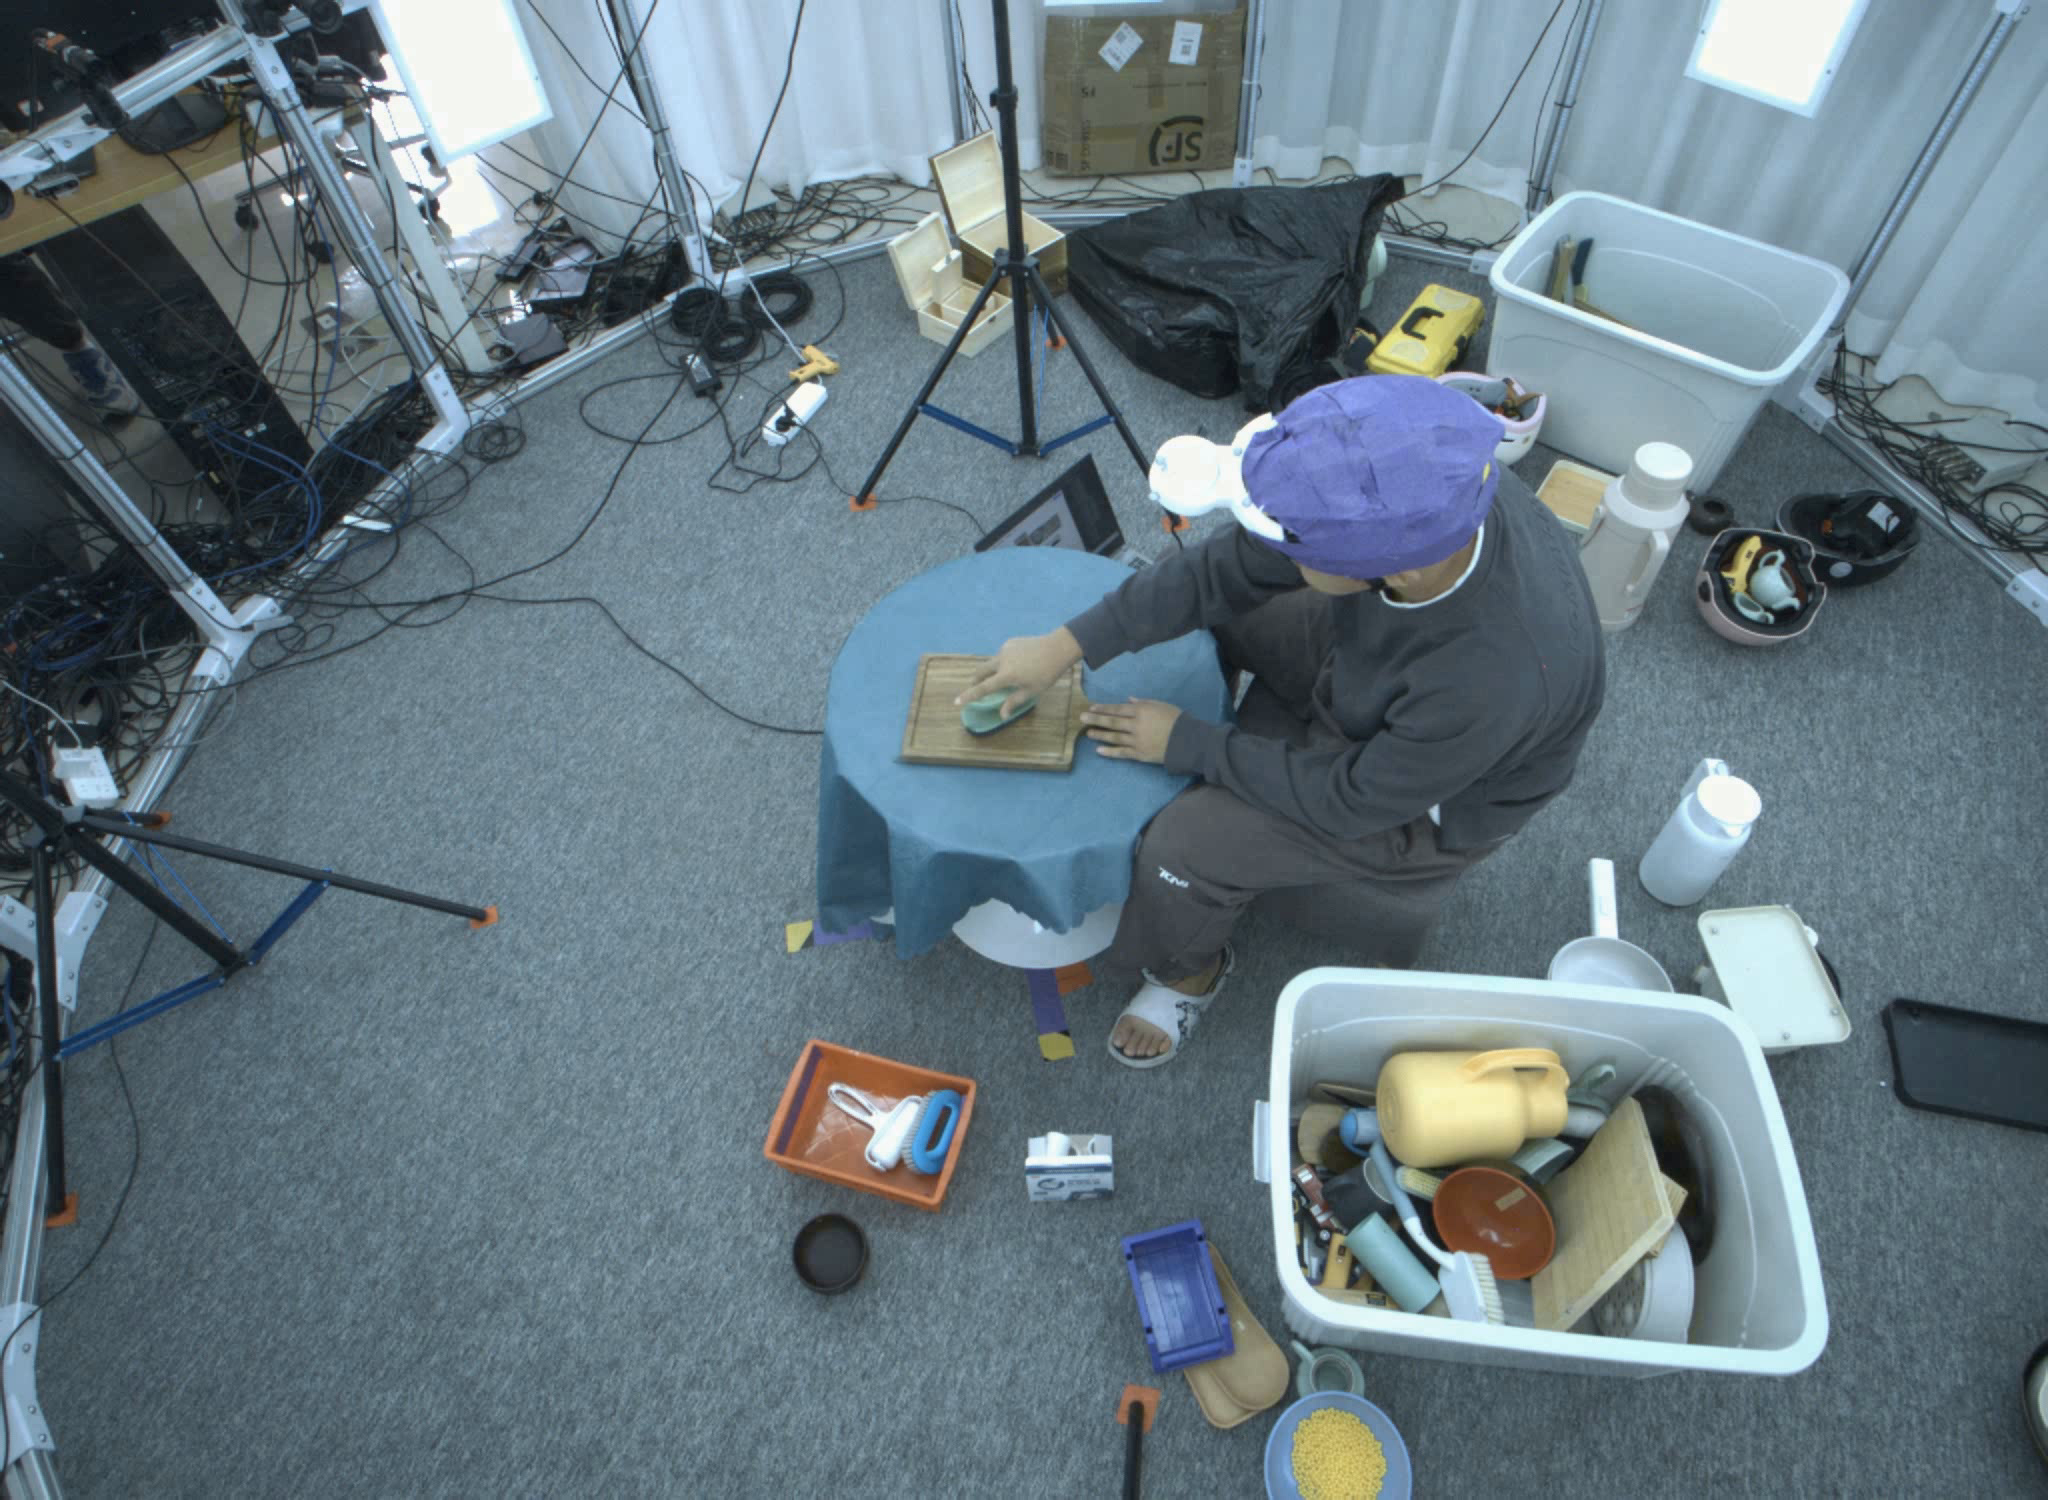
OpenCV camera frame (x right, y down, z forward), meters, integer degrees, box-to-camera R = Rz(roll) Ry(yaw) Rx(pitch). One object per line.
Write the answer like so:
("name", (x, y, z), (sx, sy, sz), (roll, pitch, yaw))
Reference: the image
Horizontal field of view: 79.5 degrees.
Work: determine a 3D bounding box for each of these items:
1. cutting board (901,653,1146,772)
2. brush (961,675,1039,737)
("cutting board", (0.004, -0.056, 1.814), (0.351, 0.023, 0.199), (4, 55, 4))
("brush", (-0.036, -0.066, 1.785), (0.125, 0.076, 0.058), (-17, 57, -30))
